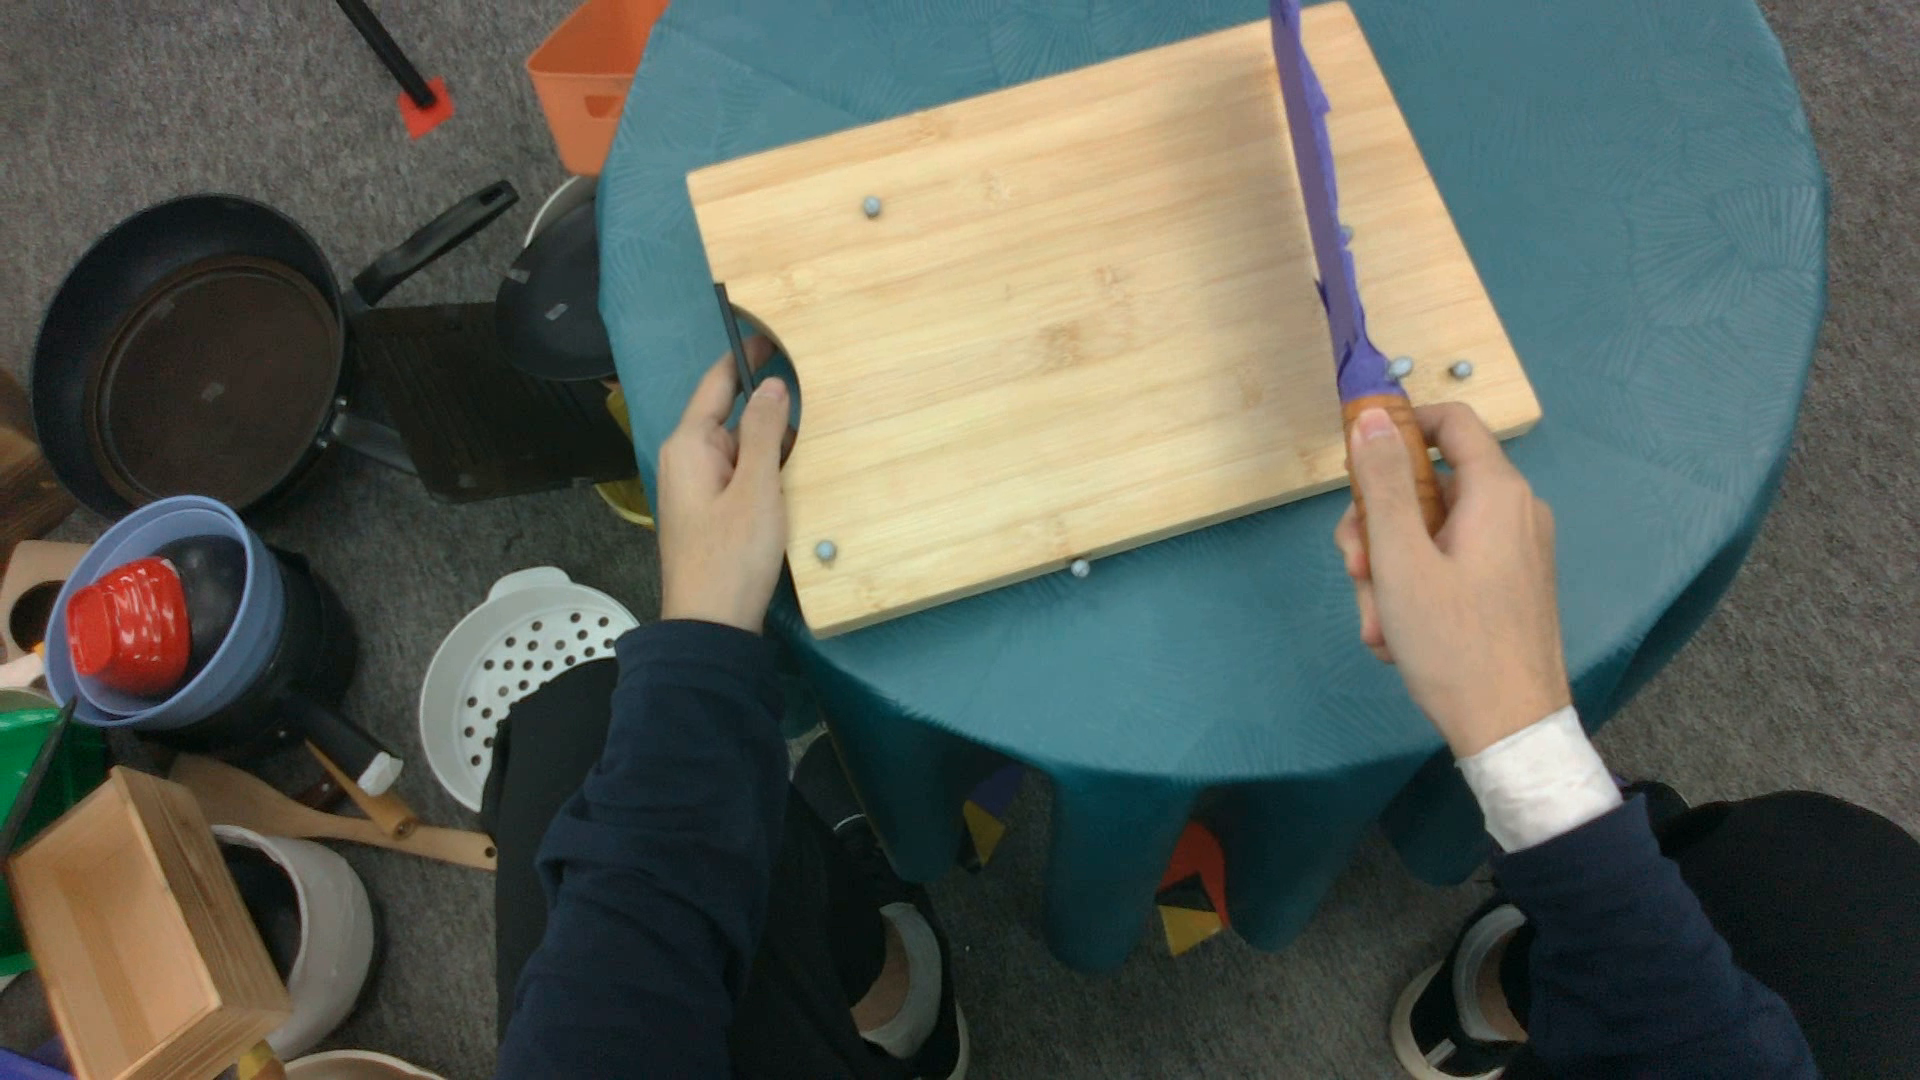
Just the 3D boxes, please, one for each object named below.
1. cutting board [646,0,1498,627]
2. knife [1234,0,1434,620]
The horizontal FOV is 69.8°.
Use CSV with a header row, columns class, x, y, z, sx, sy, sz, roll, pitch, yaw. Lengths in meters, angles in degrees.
class,x,y,z,sx,sy,sz,roll,pitch,yaw
cutting board,0.049,-0.119,0.650,0.349,0.023,0.251,-17,71,-6
knife,0.152,-0.116,0.587,0.032,0.104,0.316,-9,74,10
